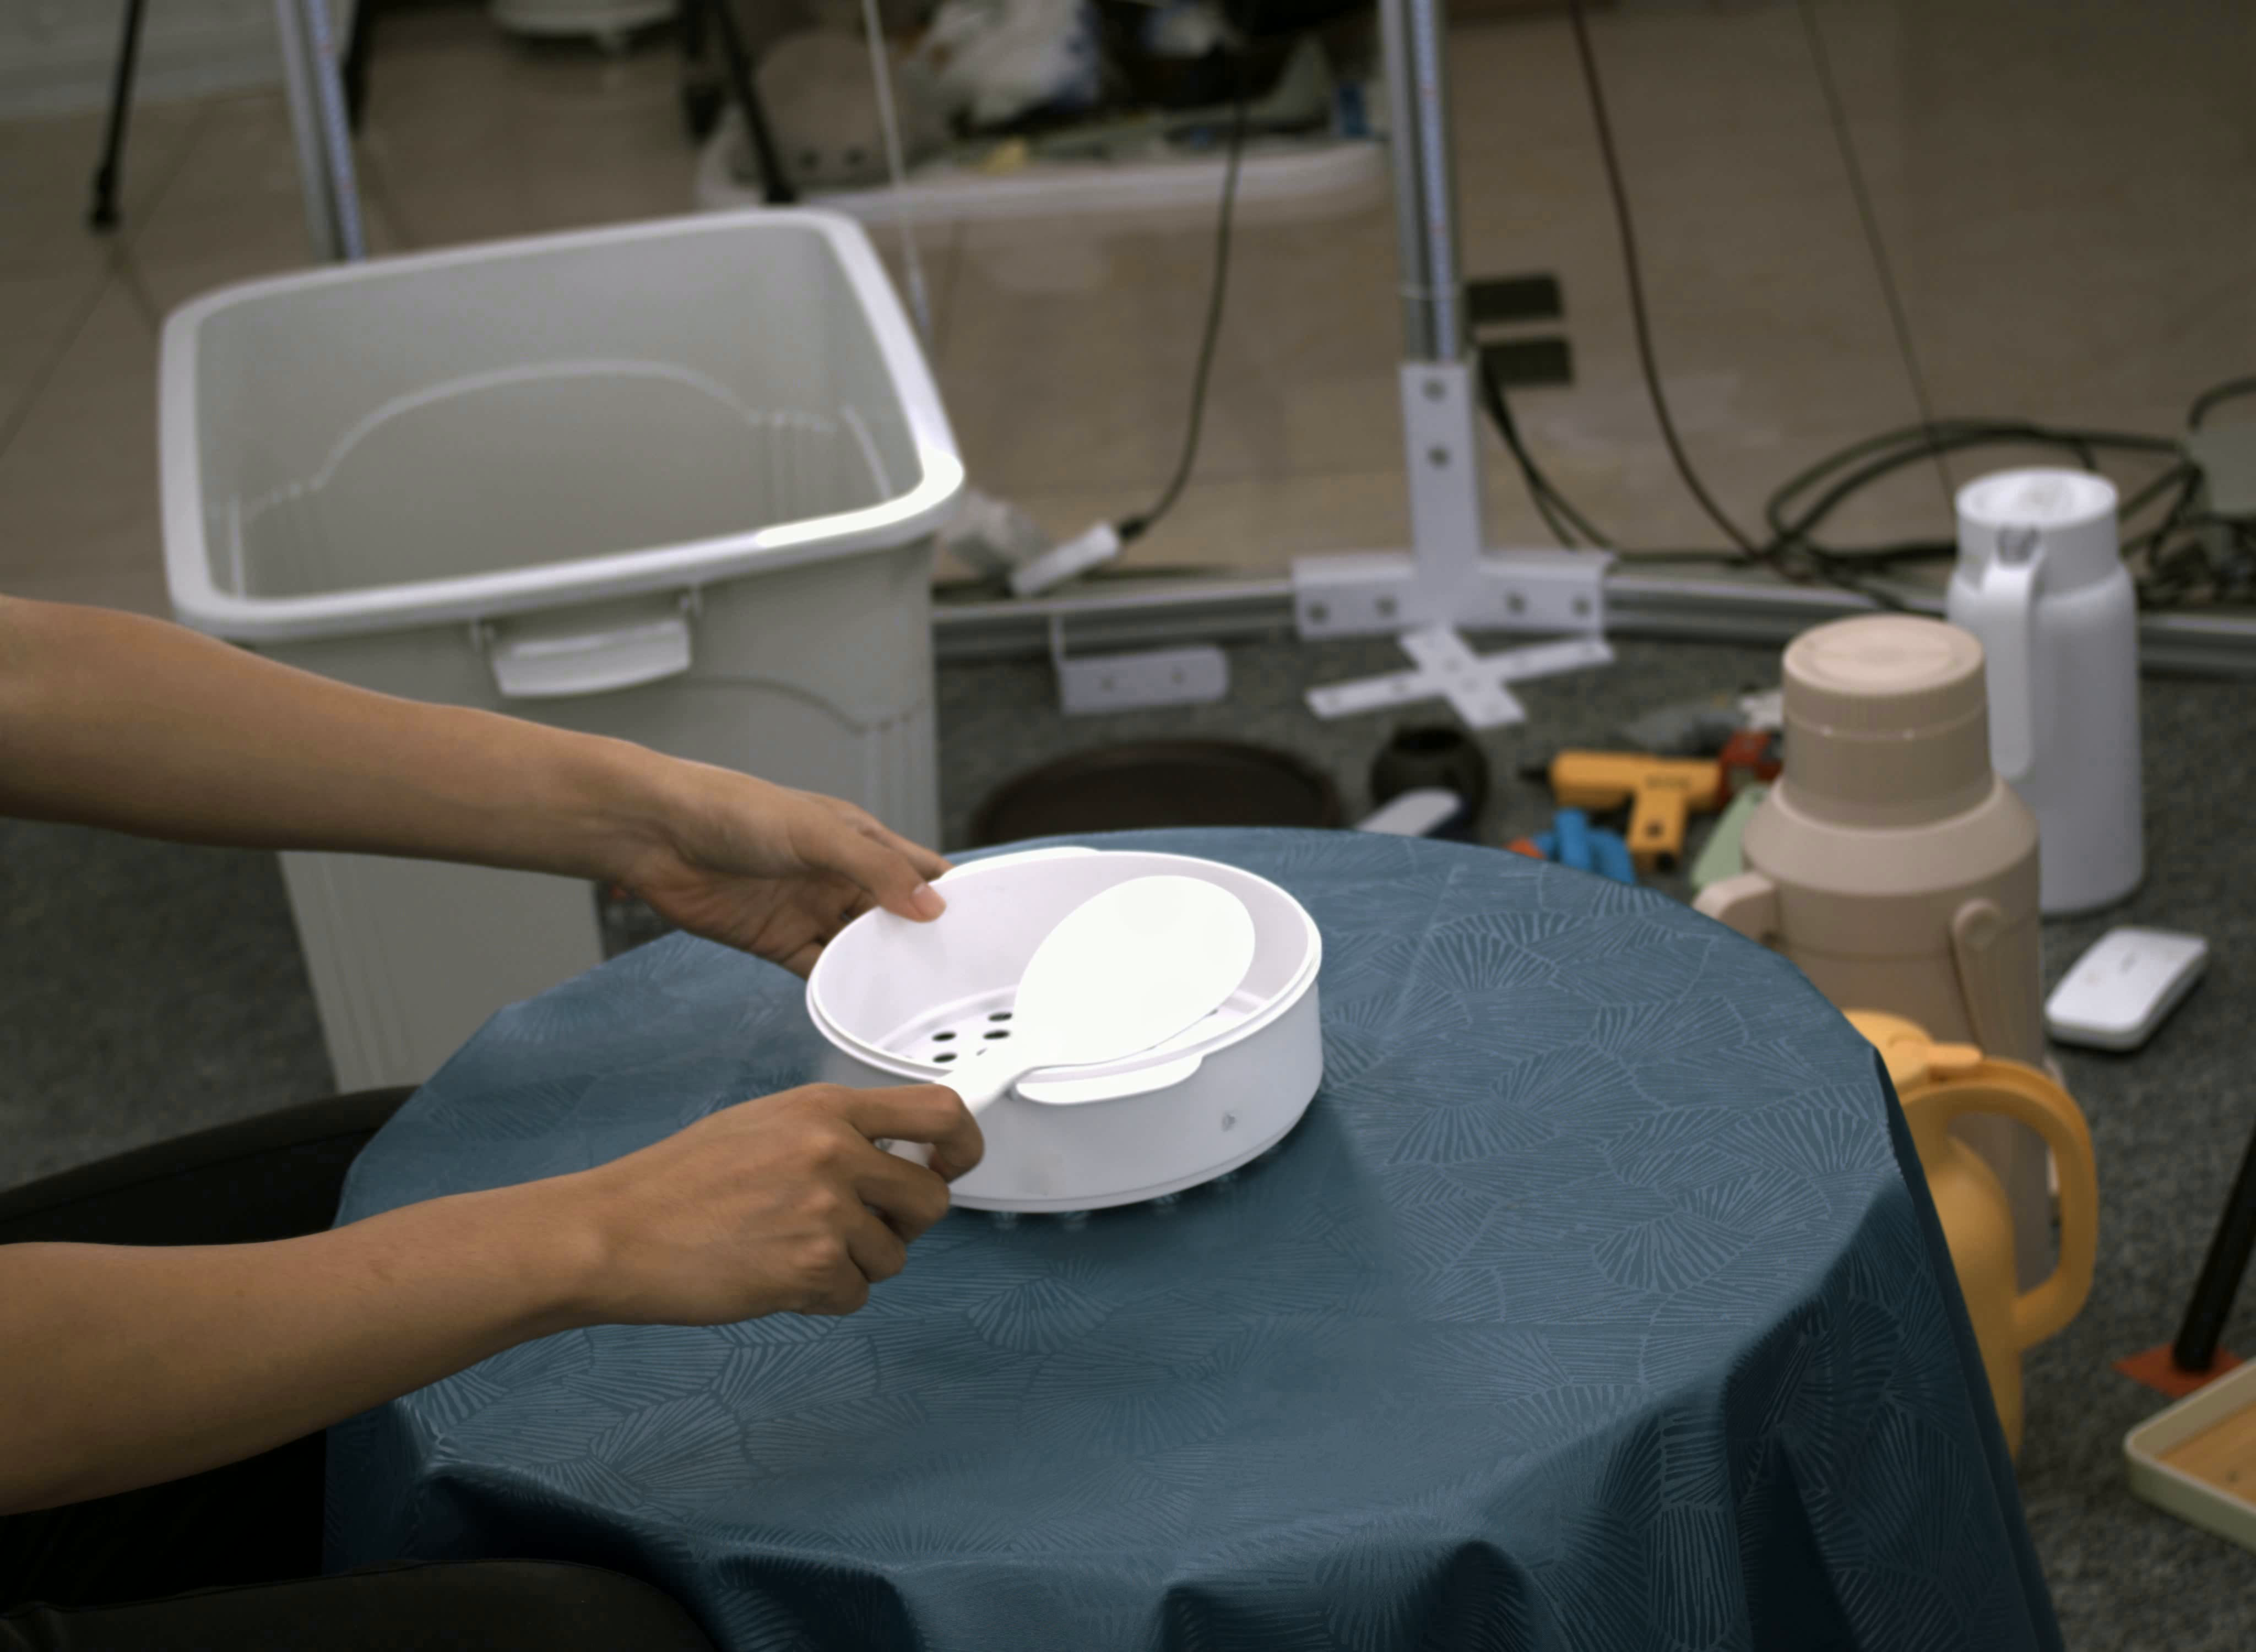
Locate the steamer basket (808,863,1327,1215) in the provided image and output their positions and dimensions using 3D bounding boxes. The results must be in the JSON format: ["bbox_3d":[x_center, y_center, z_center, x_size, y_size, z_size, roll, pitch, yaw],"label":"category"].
[{"bbox_3d":[-0.021,0.083,2.199,0.201,0.070,0.227,-8,23,-8],"label":"steamer basket"}]

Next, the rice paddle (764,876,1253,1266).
[{"bbox_3d":[-0.040,0.082,2.000,0.204,0.030,0.068,-37,59,-17],"label":"rice paddle"}]
